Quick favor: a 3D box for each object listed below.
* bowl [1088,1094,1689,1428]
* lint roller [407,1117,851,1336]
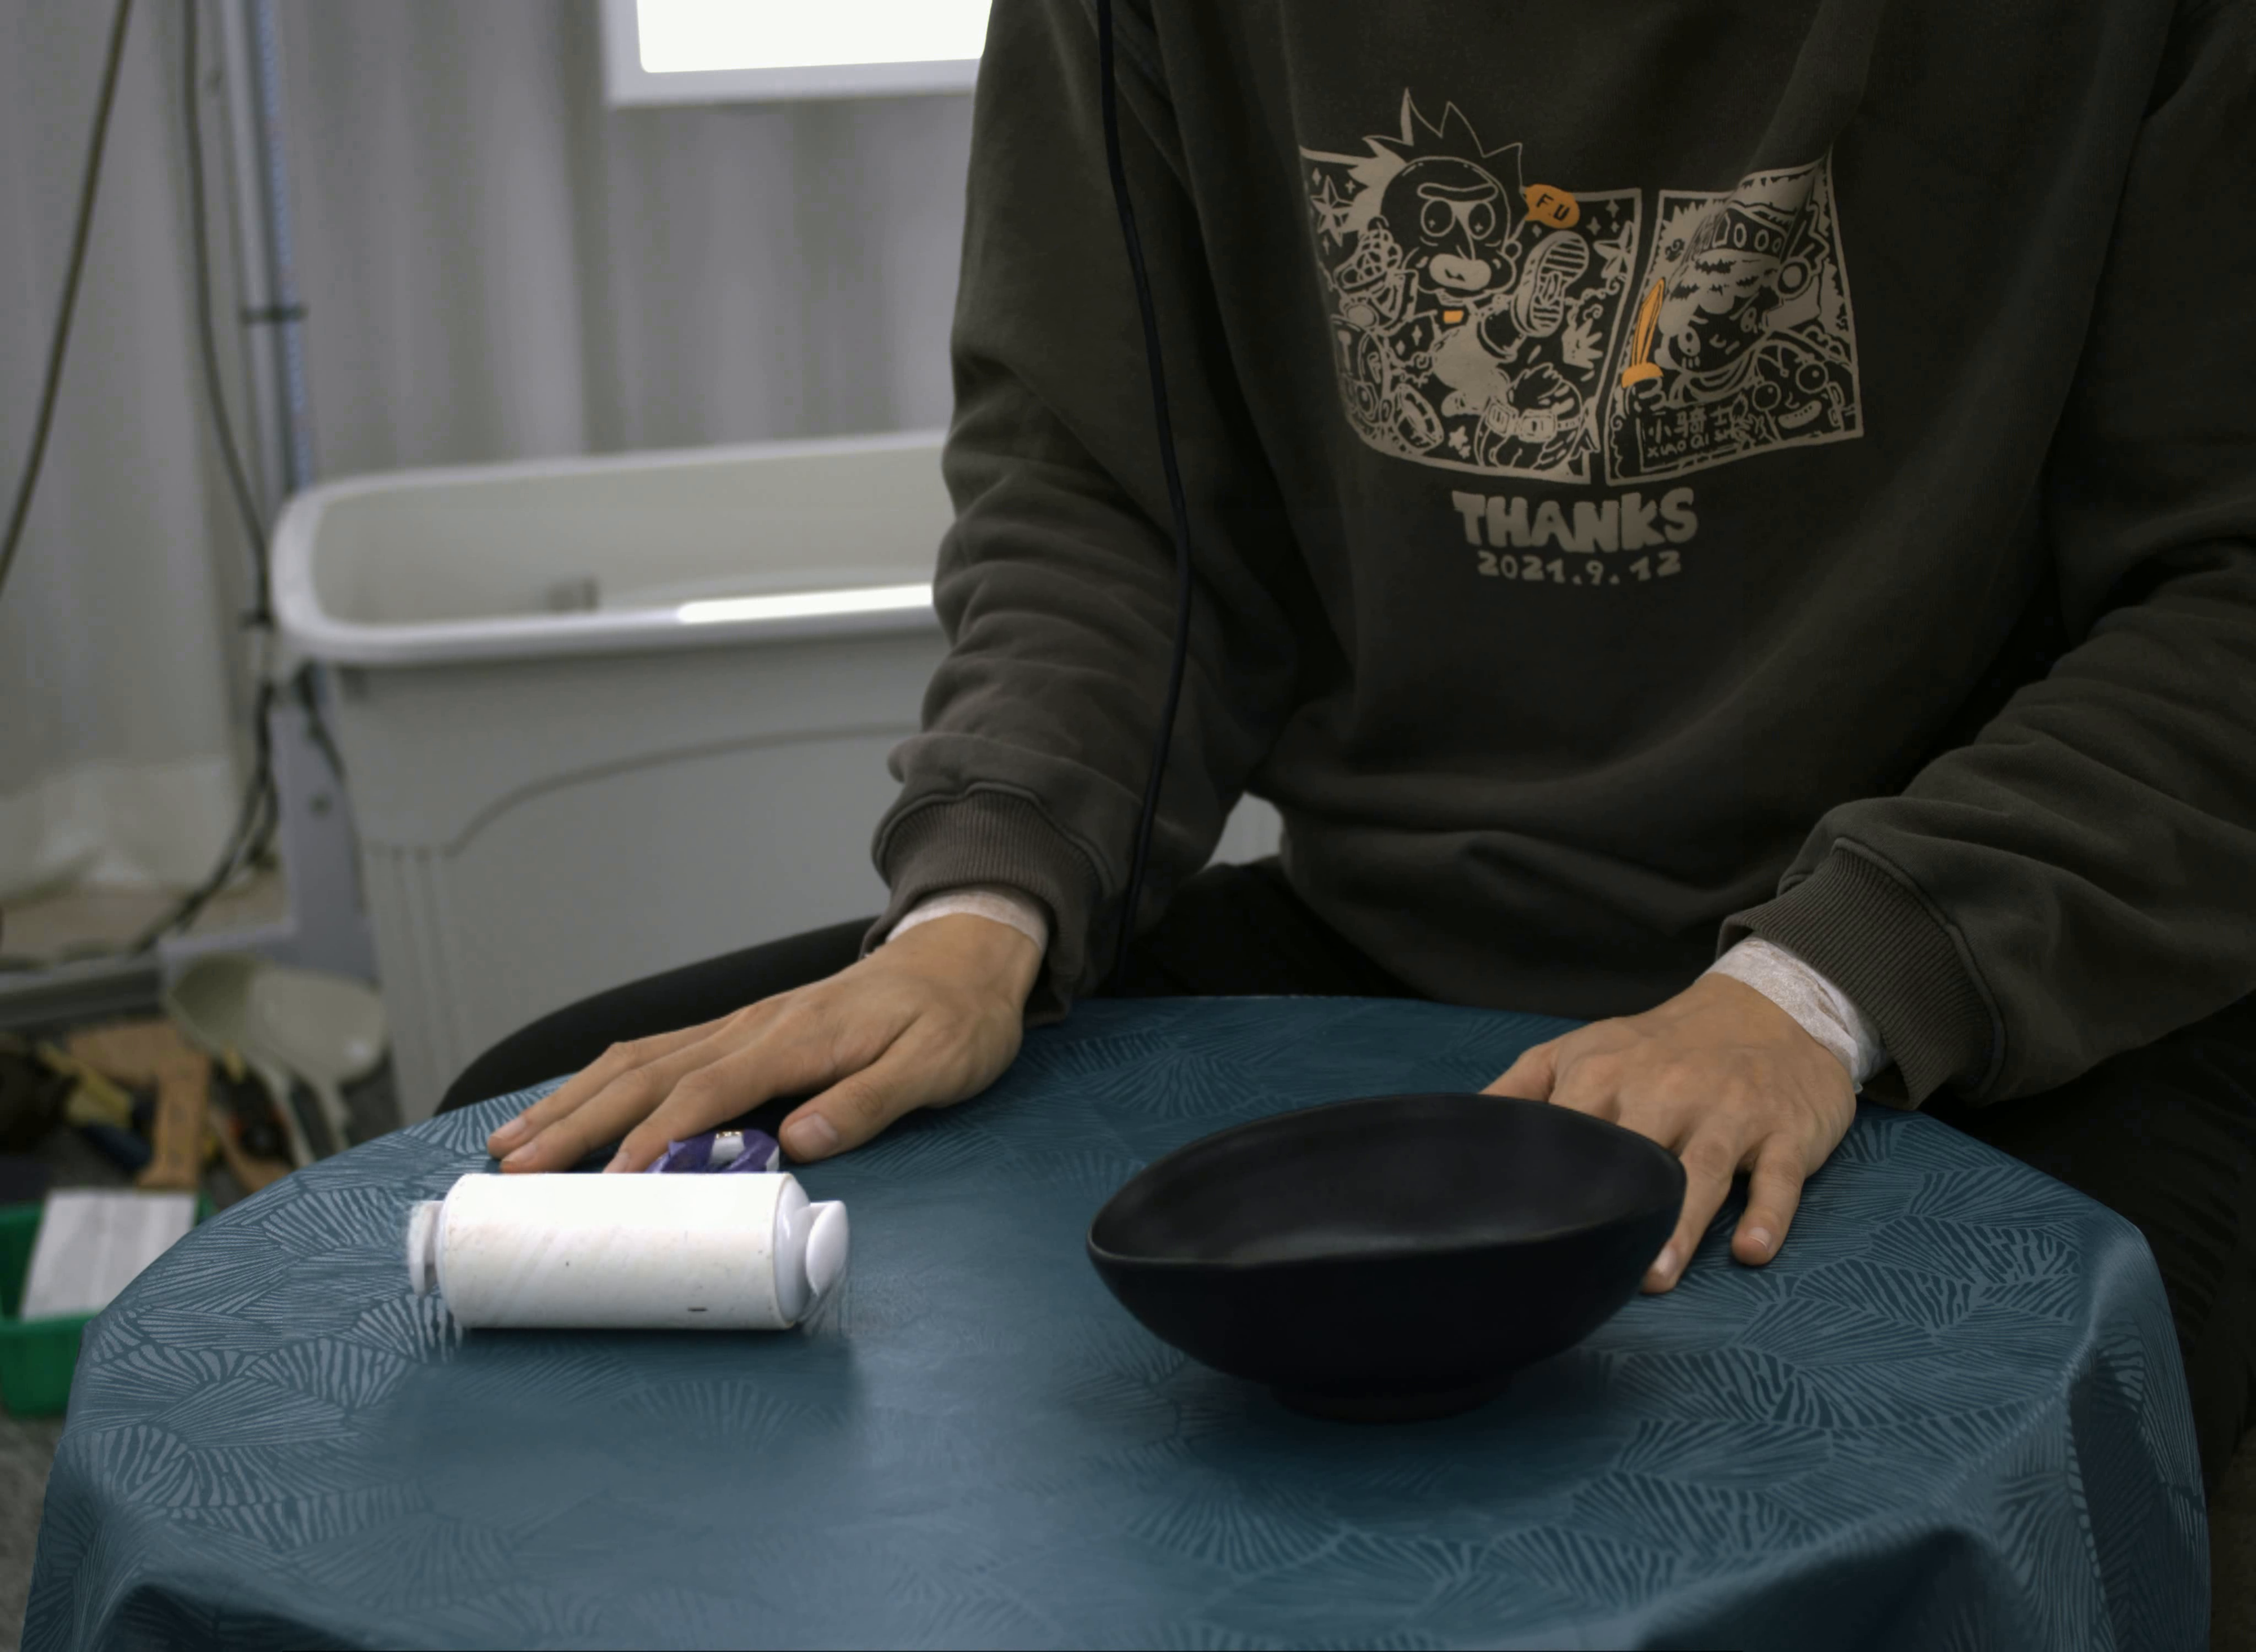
[{"bbox_3d":[0.075,0.128,1.538,0.169,0.066,0.138,-6,14,-5],"label":"bowl"},{"bbox_3d":[-0.137,0.108,1.682,0.133,0.050,0.182,0,18,11],"label":"lint roller"}]
